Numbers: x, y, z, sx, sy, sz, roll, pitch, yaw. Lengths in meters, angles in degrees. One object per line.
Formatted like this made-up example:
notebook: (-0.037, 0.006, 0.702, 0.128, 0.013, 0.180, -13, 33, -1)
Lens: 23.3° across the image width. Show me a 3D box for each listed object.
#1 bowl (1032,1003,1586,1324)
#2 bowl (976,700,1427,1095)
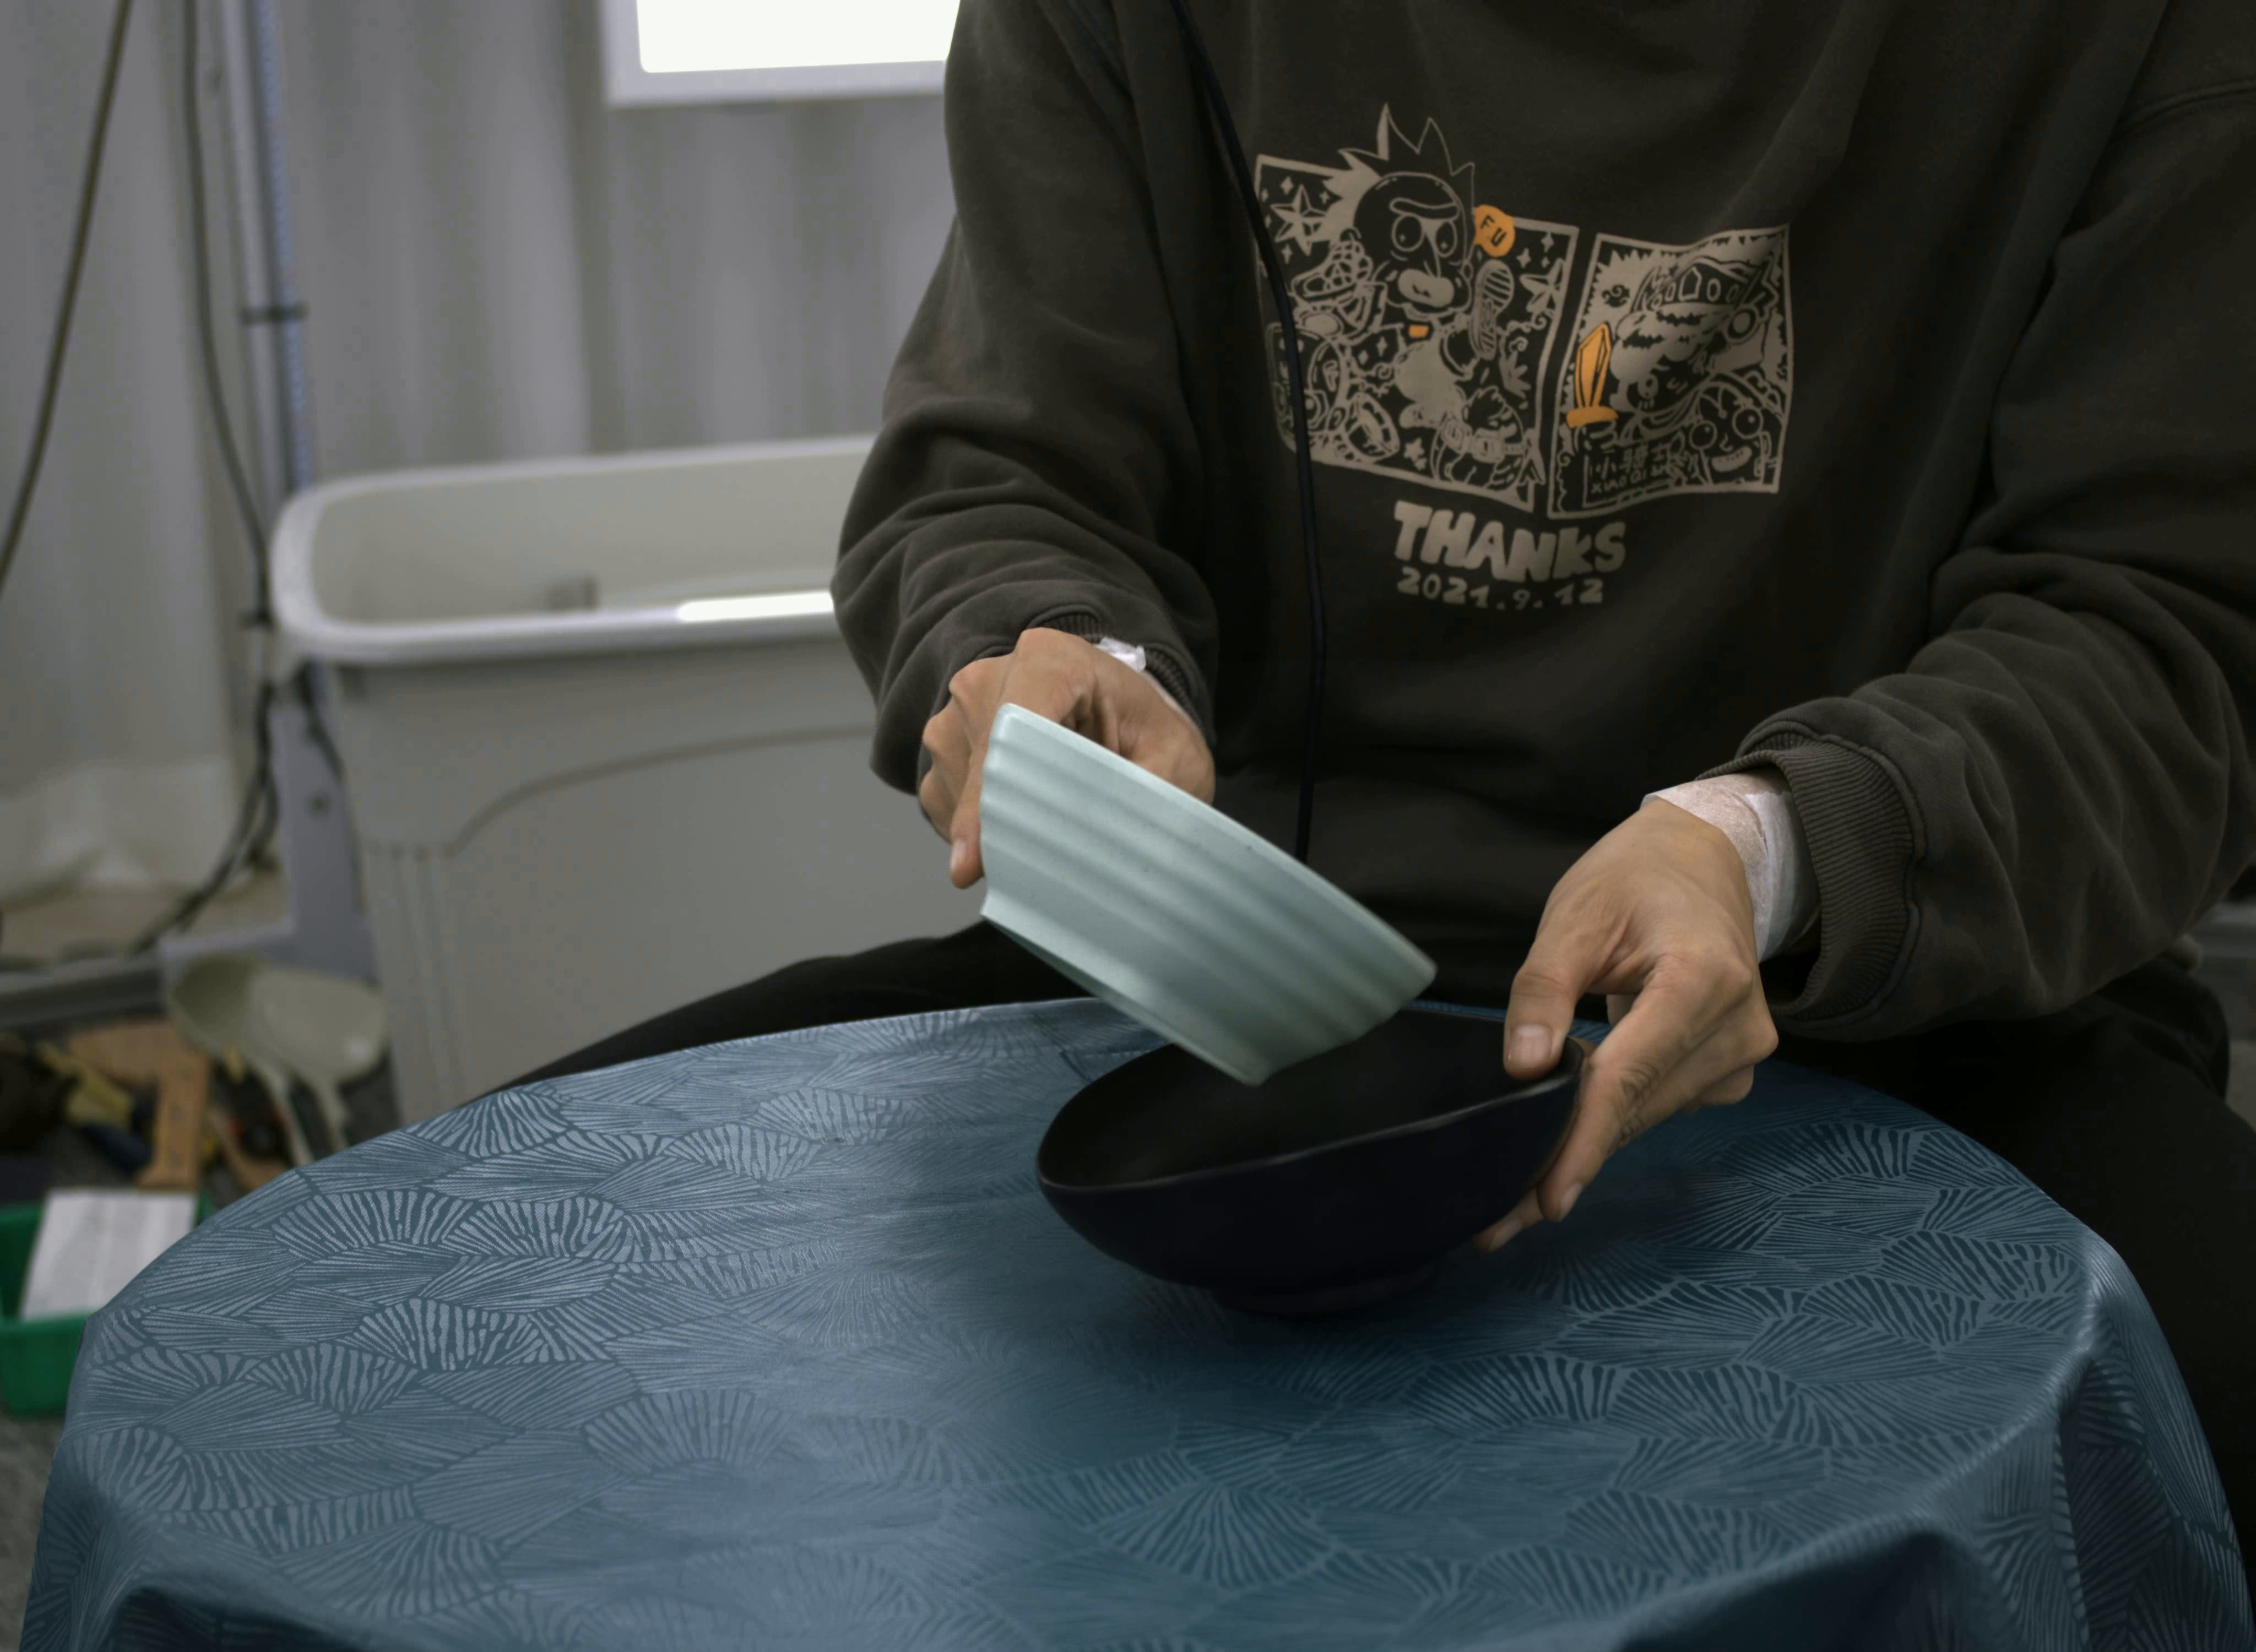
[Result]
bowl: (0.057, 0.105, 1.607, 0.170, 0.066, 0.138, -13, 14, -22)
bowl: (0.011, 0.029, 1.615, 0.151, 0.059, 0.151, 35, -2, 1)
